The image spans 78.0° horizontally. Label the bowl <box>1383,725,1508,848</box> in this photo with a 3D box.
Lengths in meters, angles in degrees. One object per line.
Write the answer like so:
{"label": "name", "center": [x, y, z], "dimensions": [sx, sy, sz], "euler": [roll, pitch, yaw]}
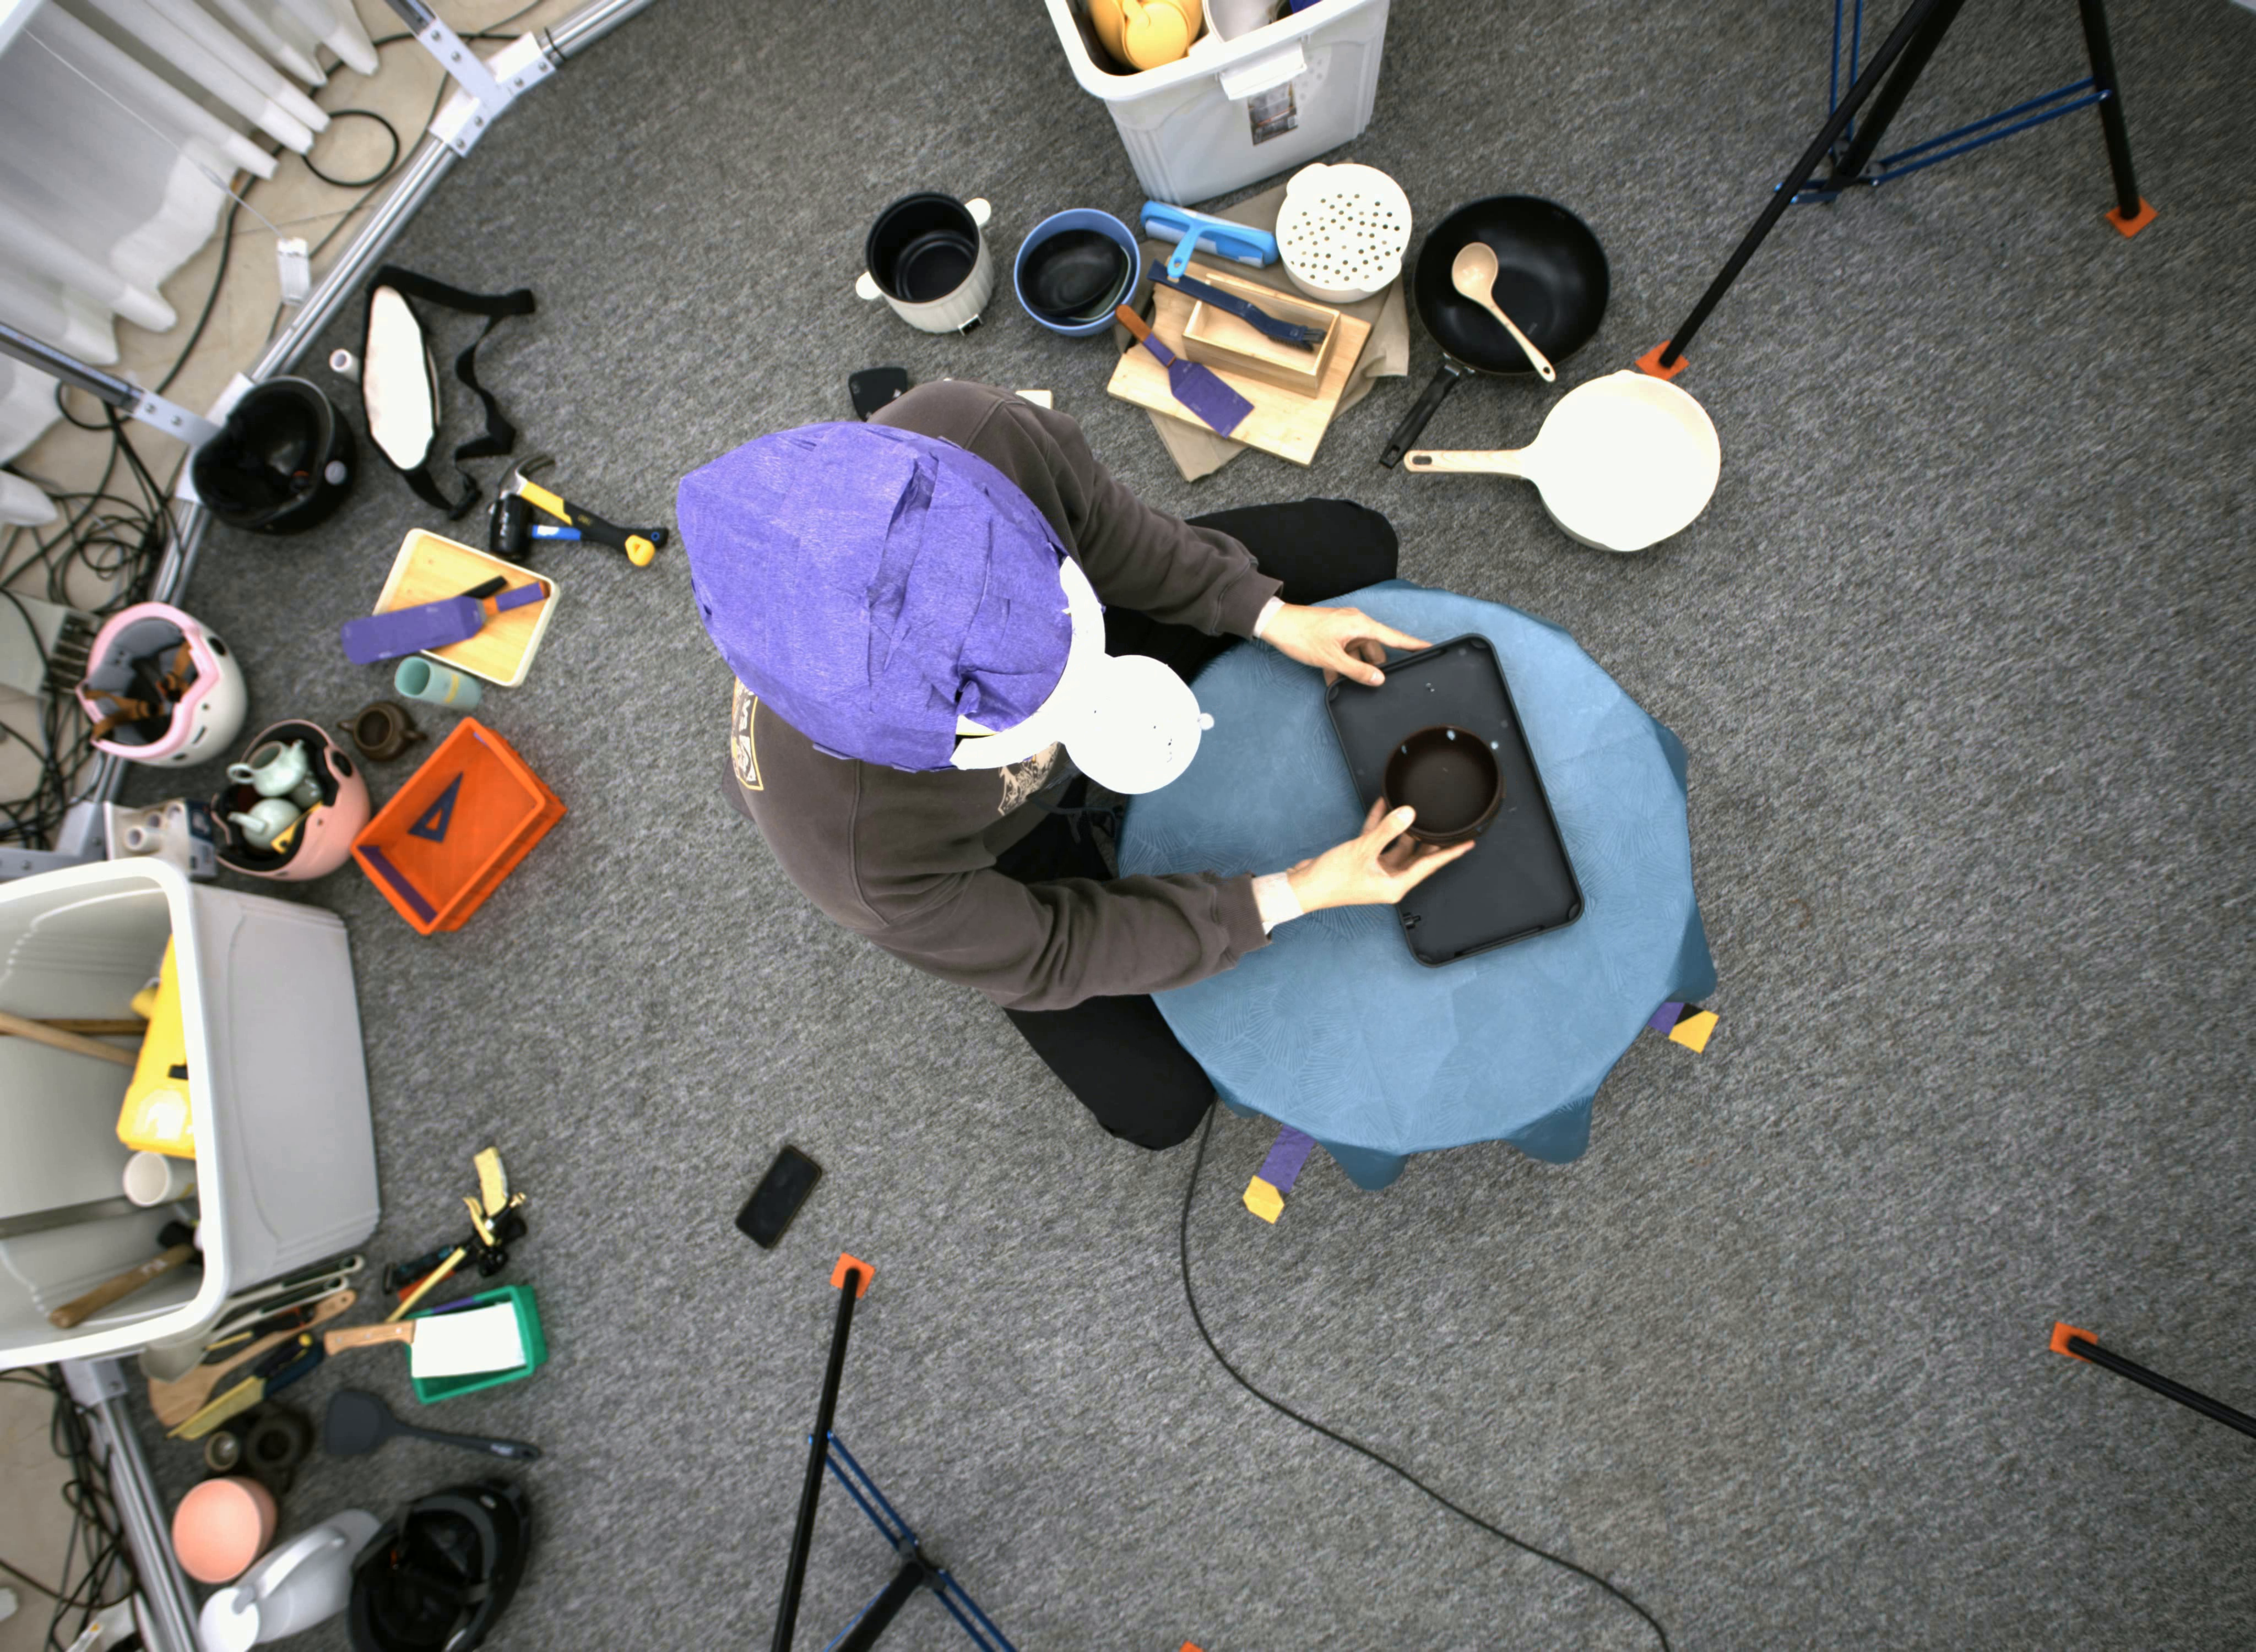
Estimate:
{"label": "bowl", "center": [0.314, -0.035, 1.347], "dimensions": [0.119, 0.070, 0.116], "euler": [-8, 70, 21]}

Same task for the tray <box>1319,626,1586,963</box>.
{"label": "tray", "center": [0.334, -0.034, 1.426], "dimensions": [0.185, 0.037, 0.317], "euler": [-21, 87, 10]}
